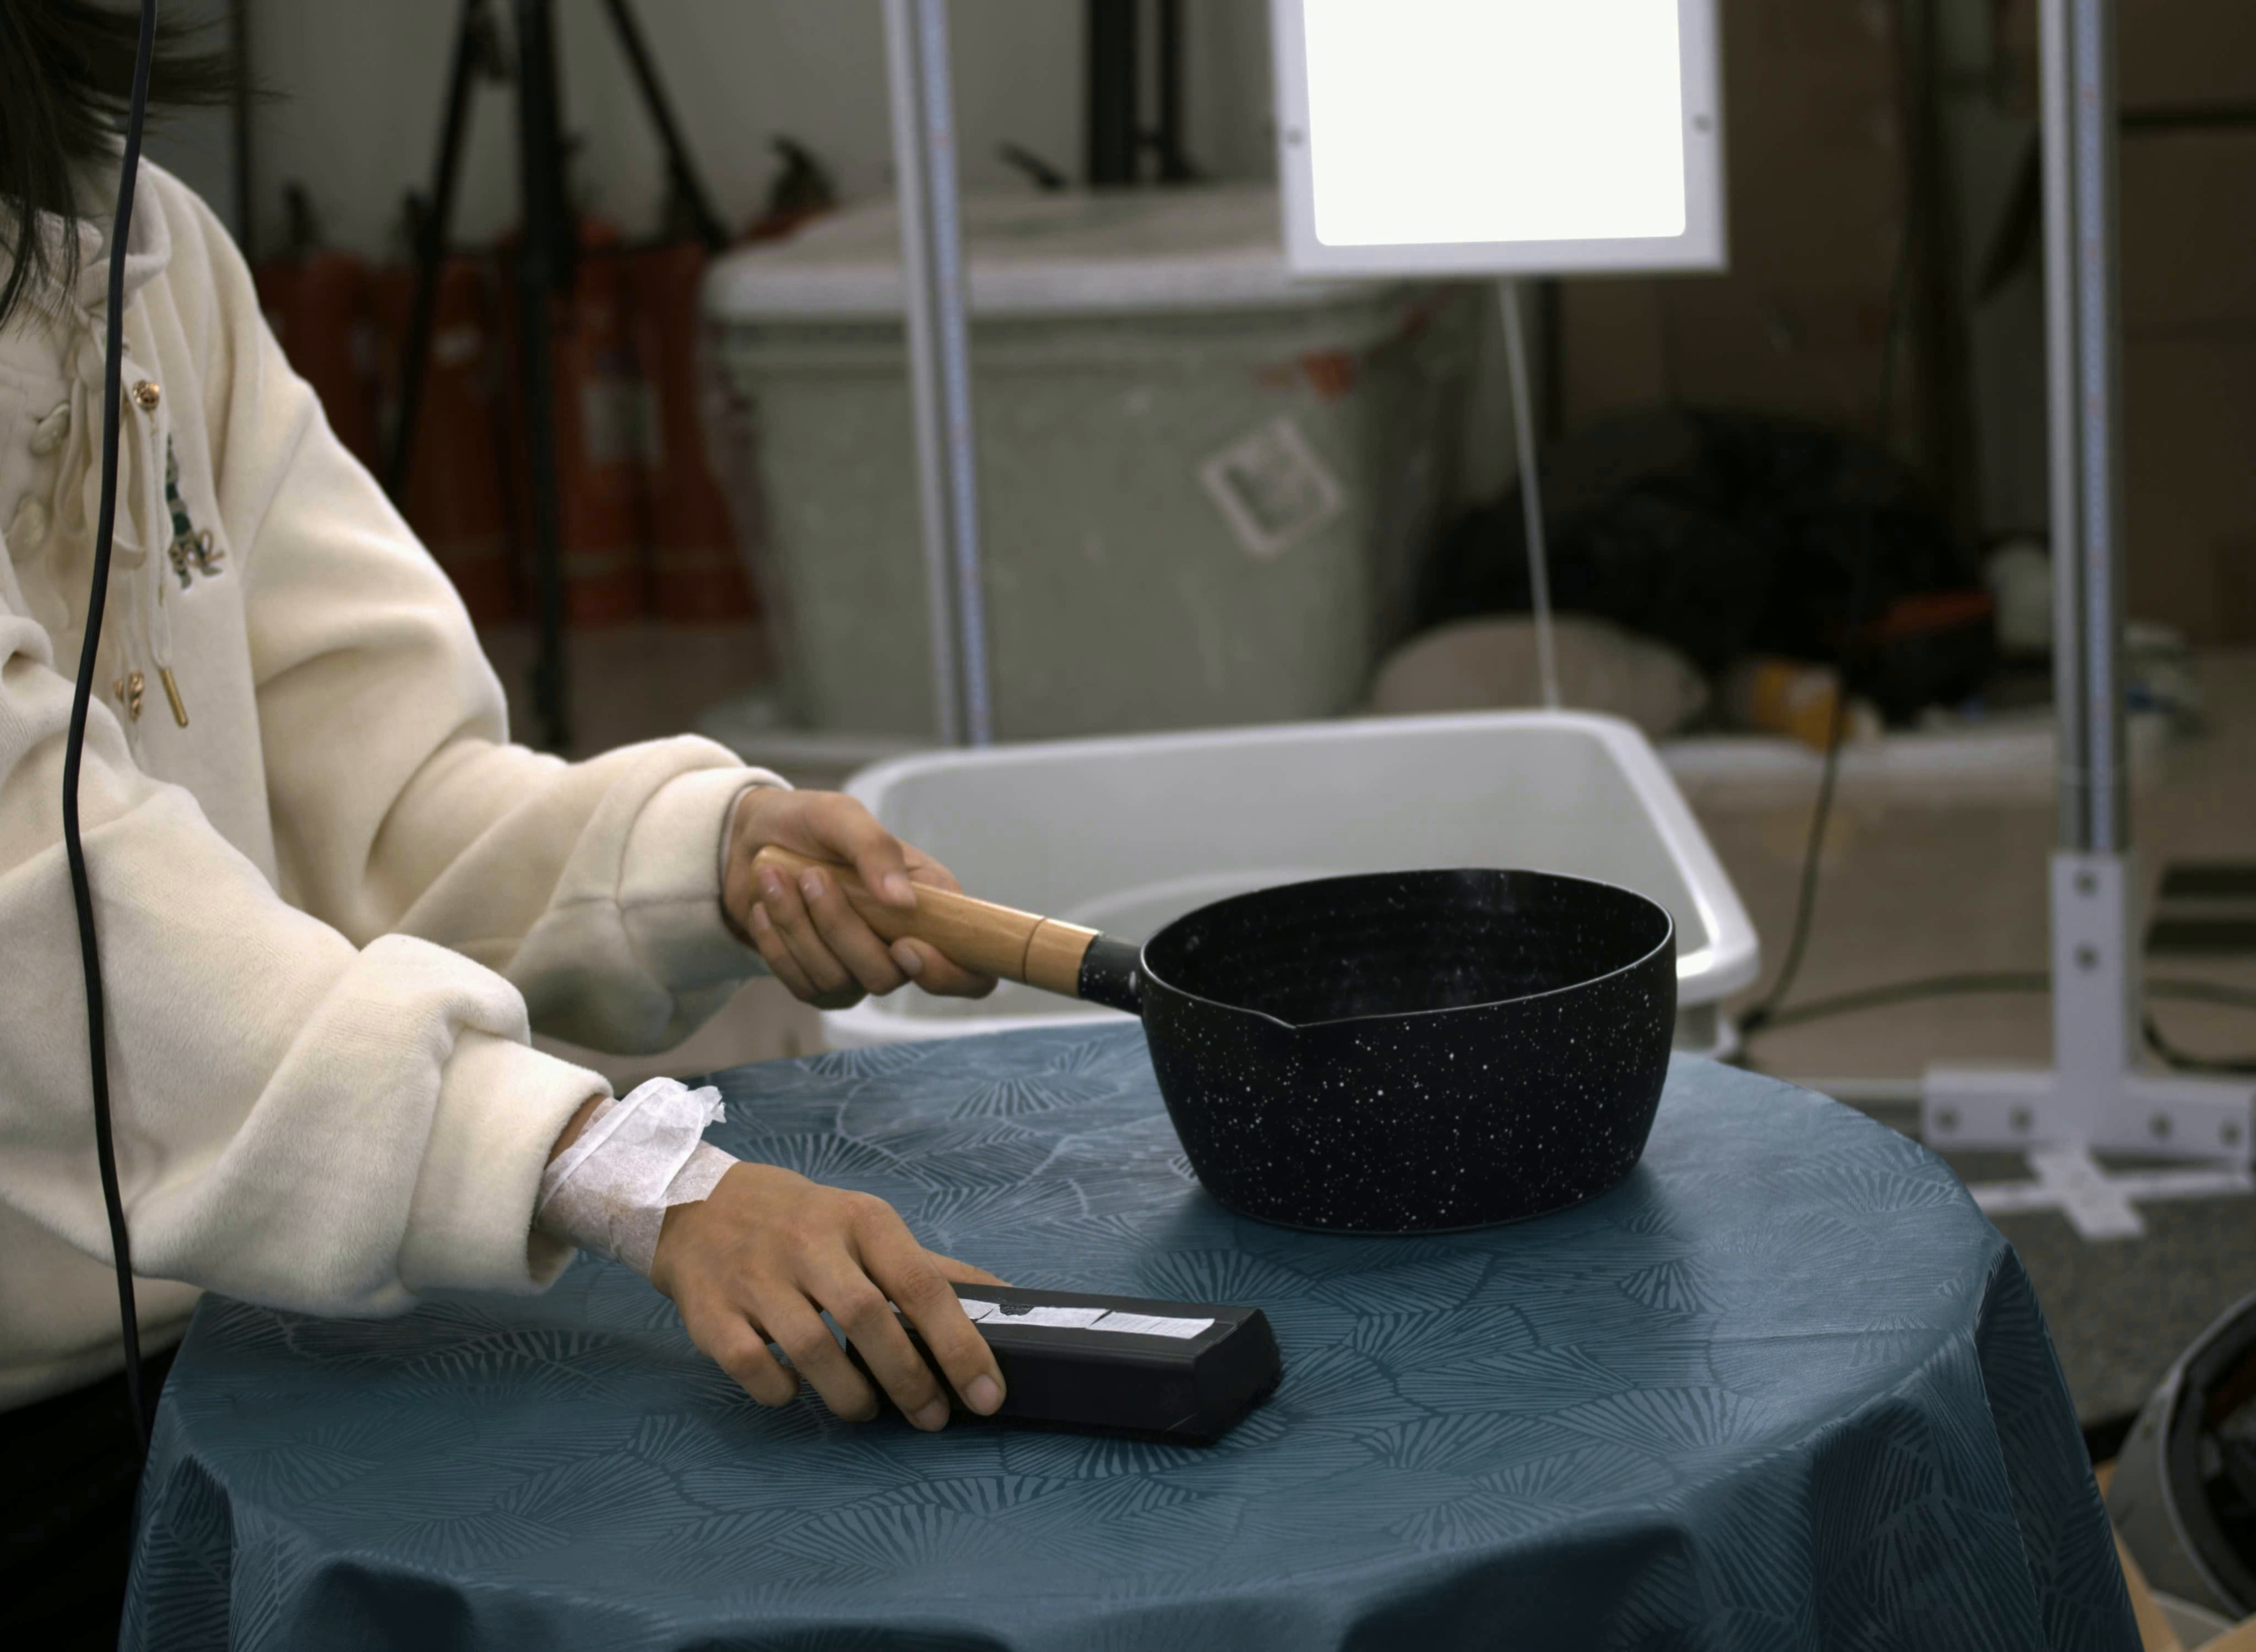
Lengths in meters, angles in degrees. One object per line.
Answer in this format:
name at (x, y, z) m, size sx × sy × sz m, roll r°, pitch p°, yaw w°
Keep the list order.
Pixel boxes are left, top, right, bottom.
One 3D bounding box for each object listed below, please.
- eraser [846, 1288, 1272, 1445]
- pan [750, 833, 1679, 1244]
eraser at (-0.020, 0.165, 1.692) m, size 0.128 × 0.030 × 0.052 m, roll 1°, pitch 15°, yaw 30°
pan at (0.024, 0.065, 1.913) m, size 0.348 × 0.108 × 0.203 m, roll 3°, pitch 17°, yaw 24°
